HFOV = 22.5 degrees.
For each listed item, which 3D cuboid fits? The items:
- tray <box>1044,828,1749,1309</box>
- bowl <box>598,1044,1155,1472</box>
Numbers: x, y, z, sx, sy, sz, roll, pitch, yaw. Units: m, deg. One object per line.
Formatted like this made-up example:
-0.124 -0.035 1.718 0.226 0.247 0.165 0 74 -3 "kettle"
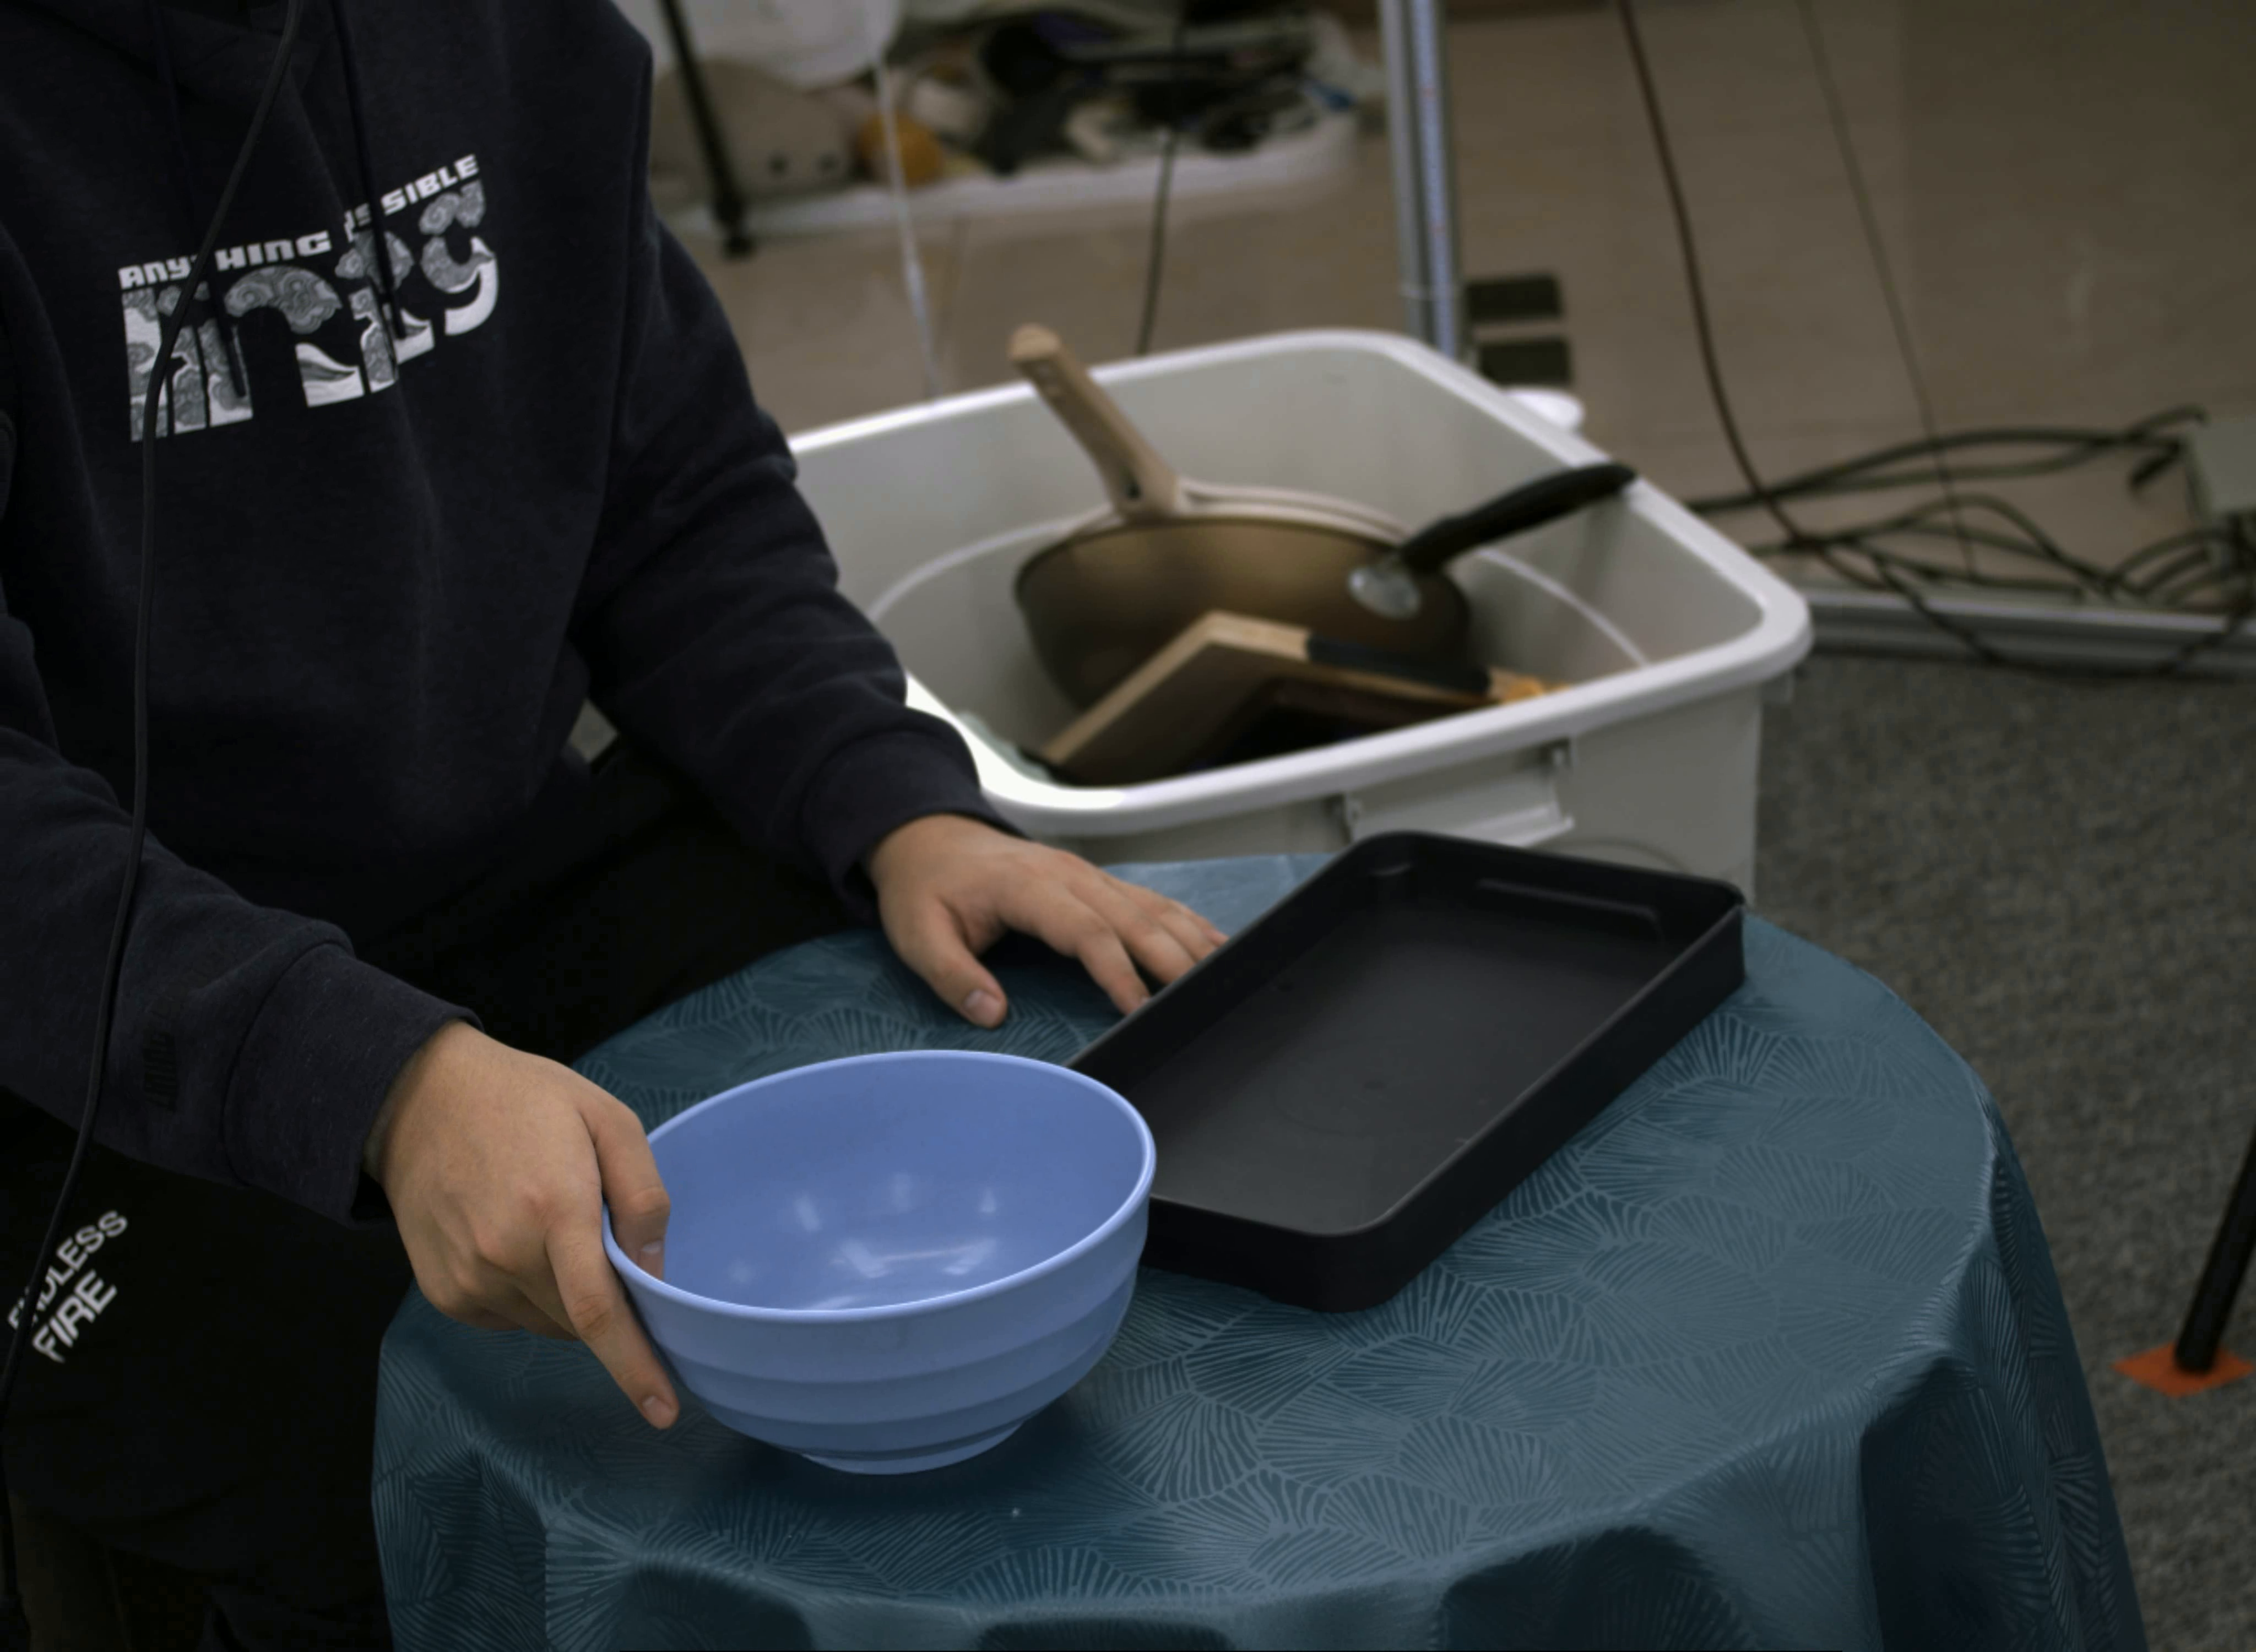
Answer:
0.094 0.088 2.191 0.183 0.037 0.314 10 29 33 "tray"
-0.083 0.163 1.998 0.196 0.097 0.193 -6 26 3 "bowl"
